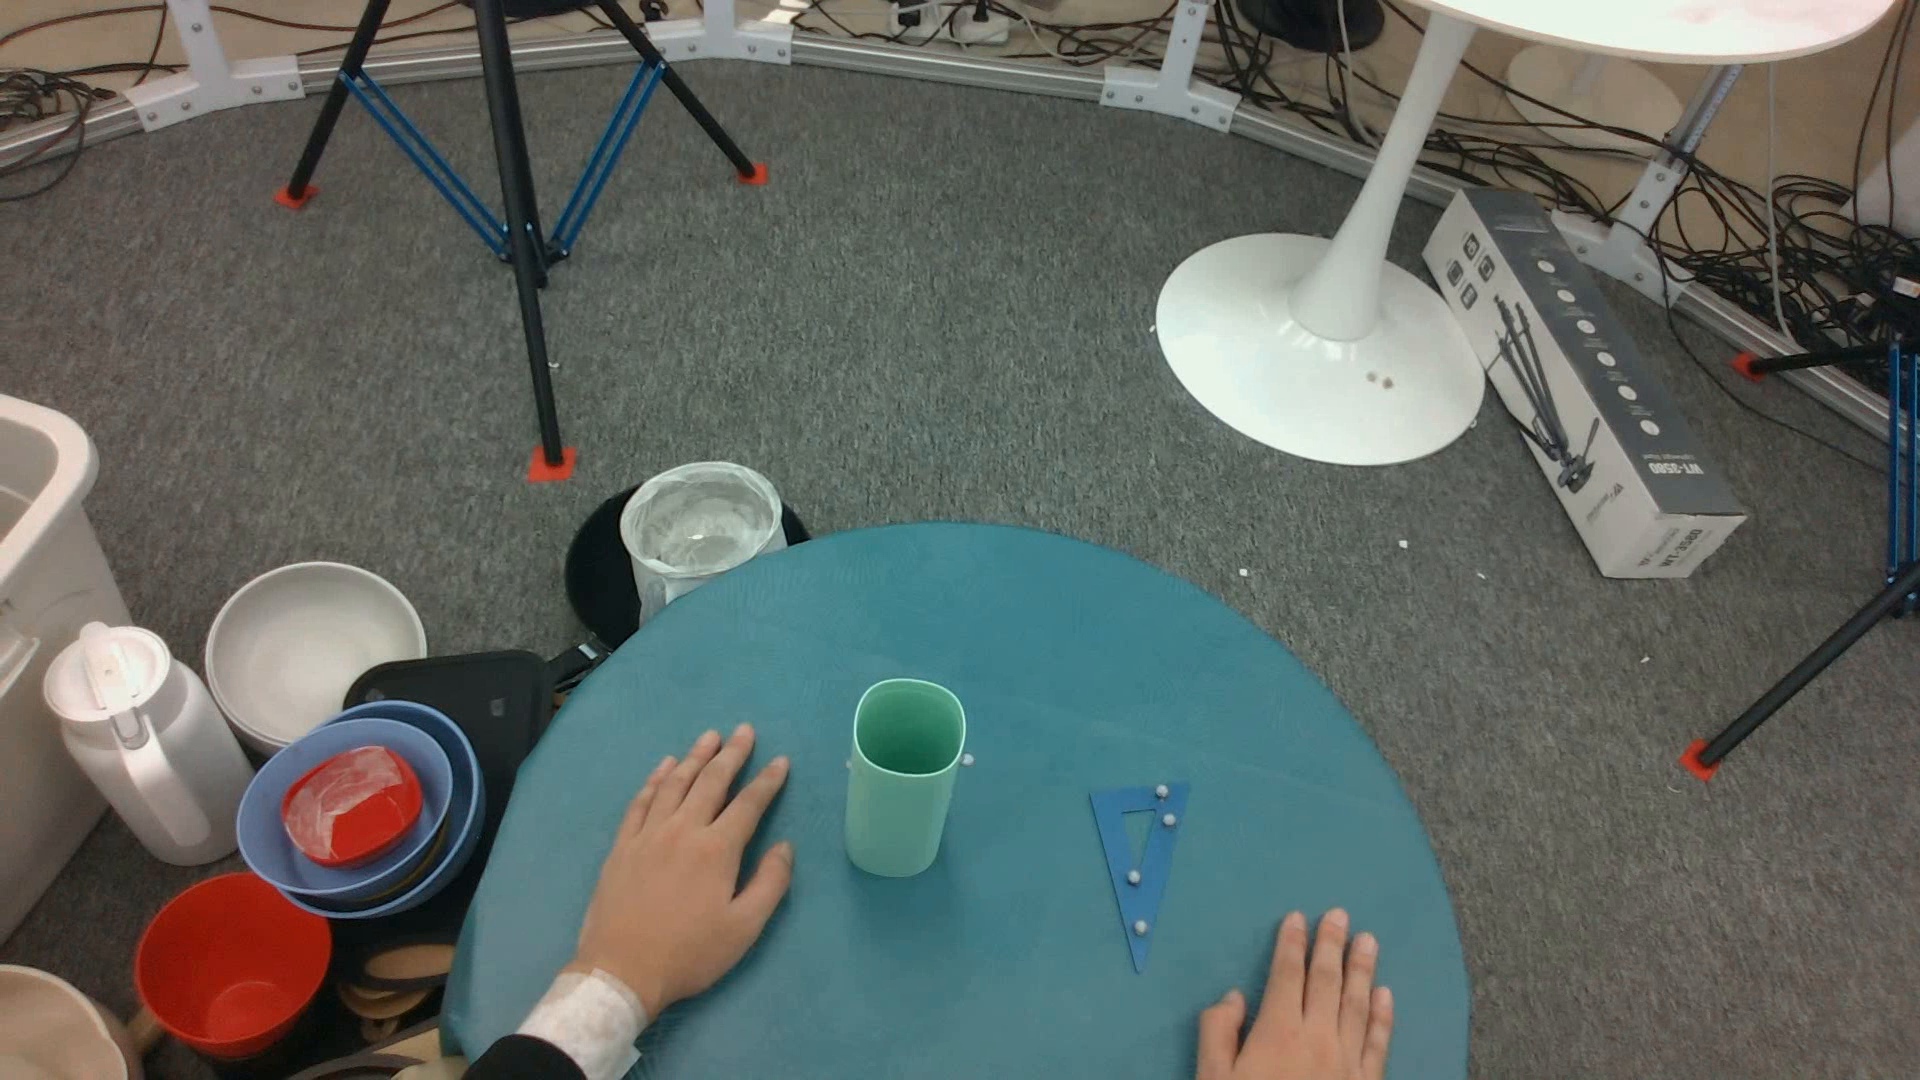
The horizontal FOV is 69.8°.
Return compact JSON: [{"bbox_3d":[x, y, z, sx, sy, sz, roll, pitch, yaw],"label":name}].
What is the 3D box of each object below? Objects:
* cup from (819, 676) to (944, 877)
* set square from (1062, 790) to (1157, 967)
[{"bbox_3d":[-0.049,0.143,0.813,0.067,0.131,0.067,5,50,-6],"label":"cup"},{"bbox_3d":[0.079,0.200,0.866,0.061,0.006,0.132,24,52,7],"label":"set square"}]
